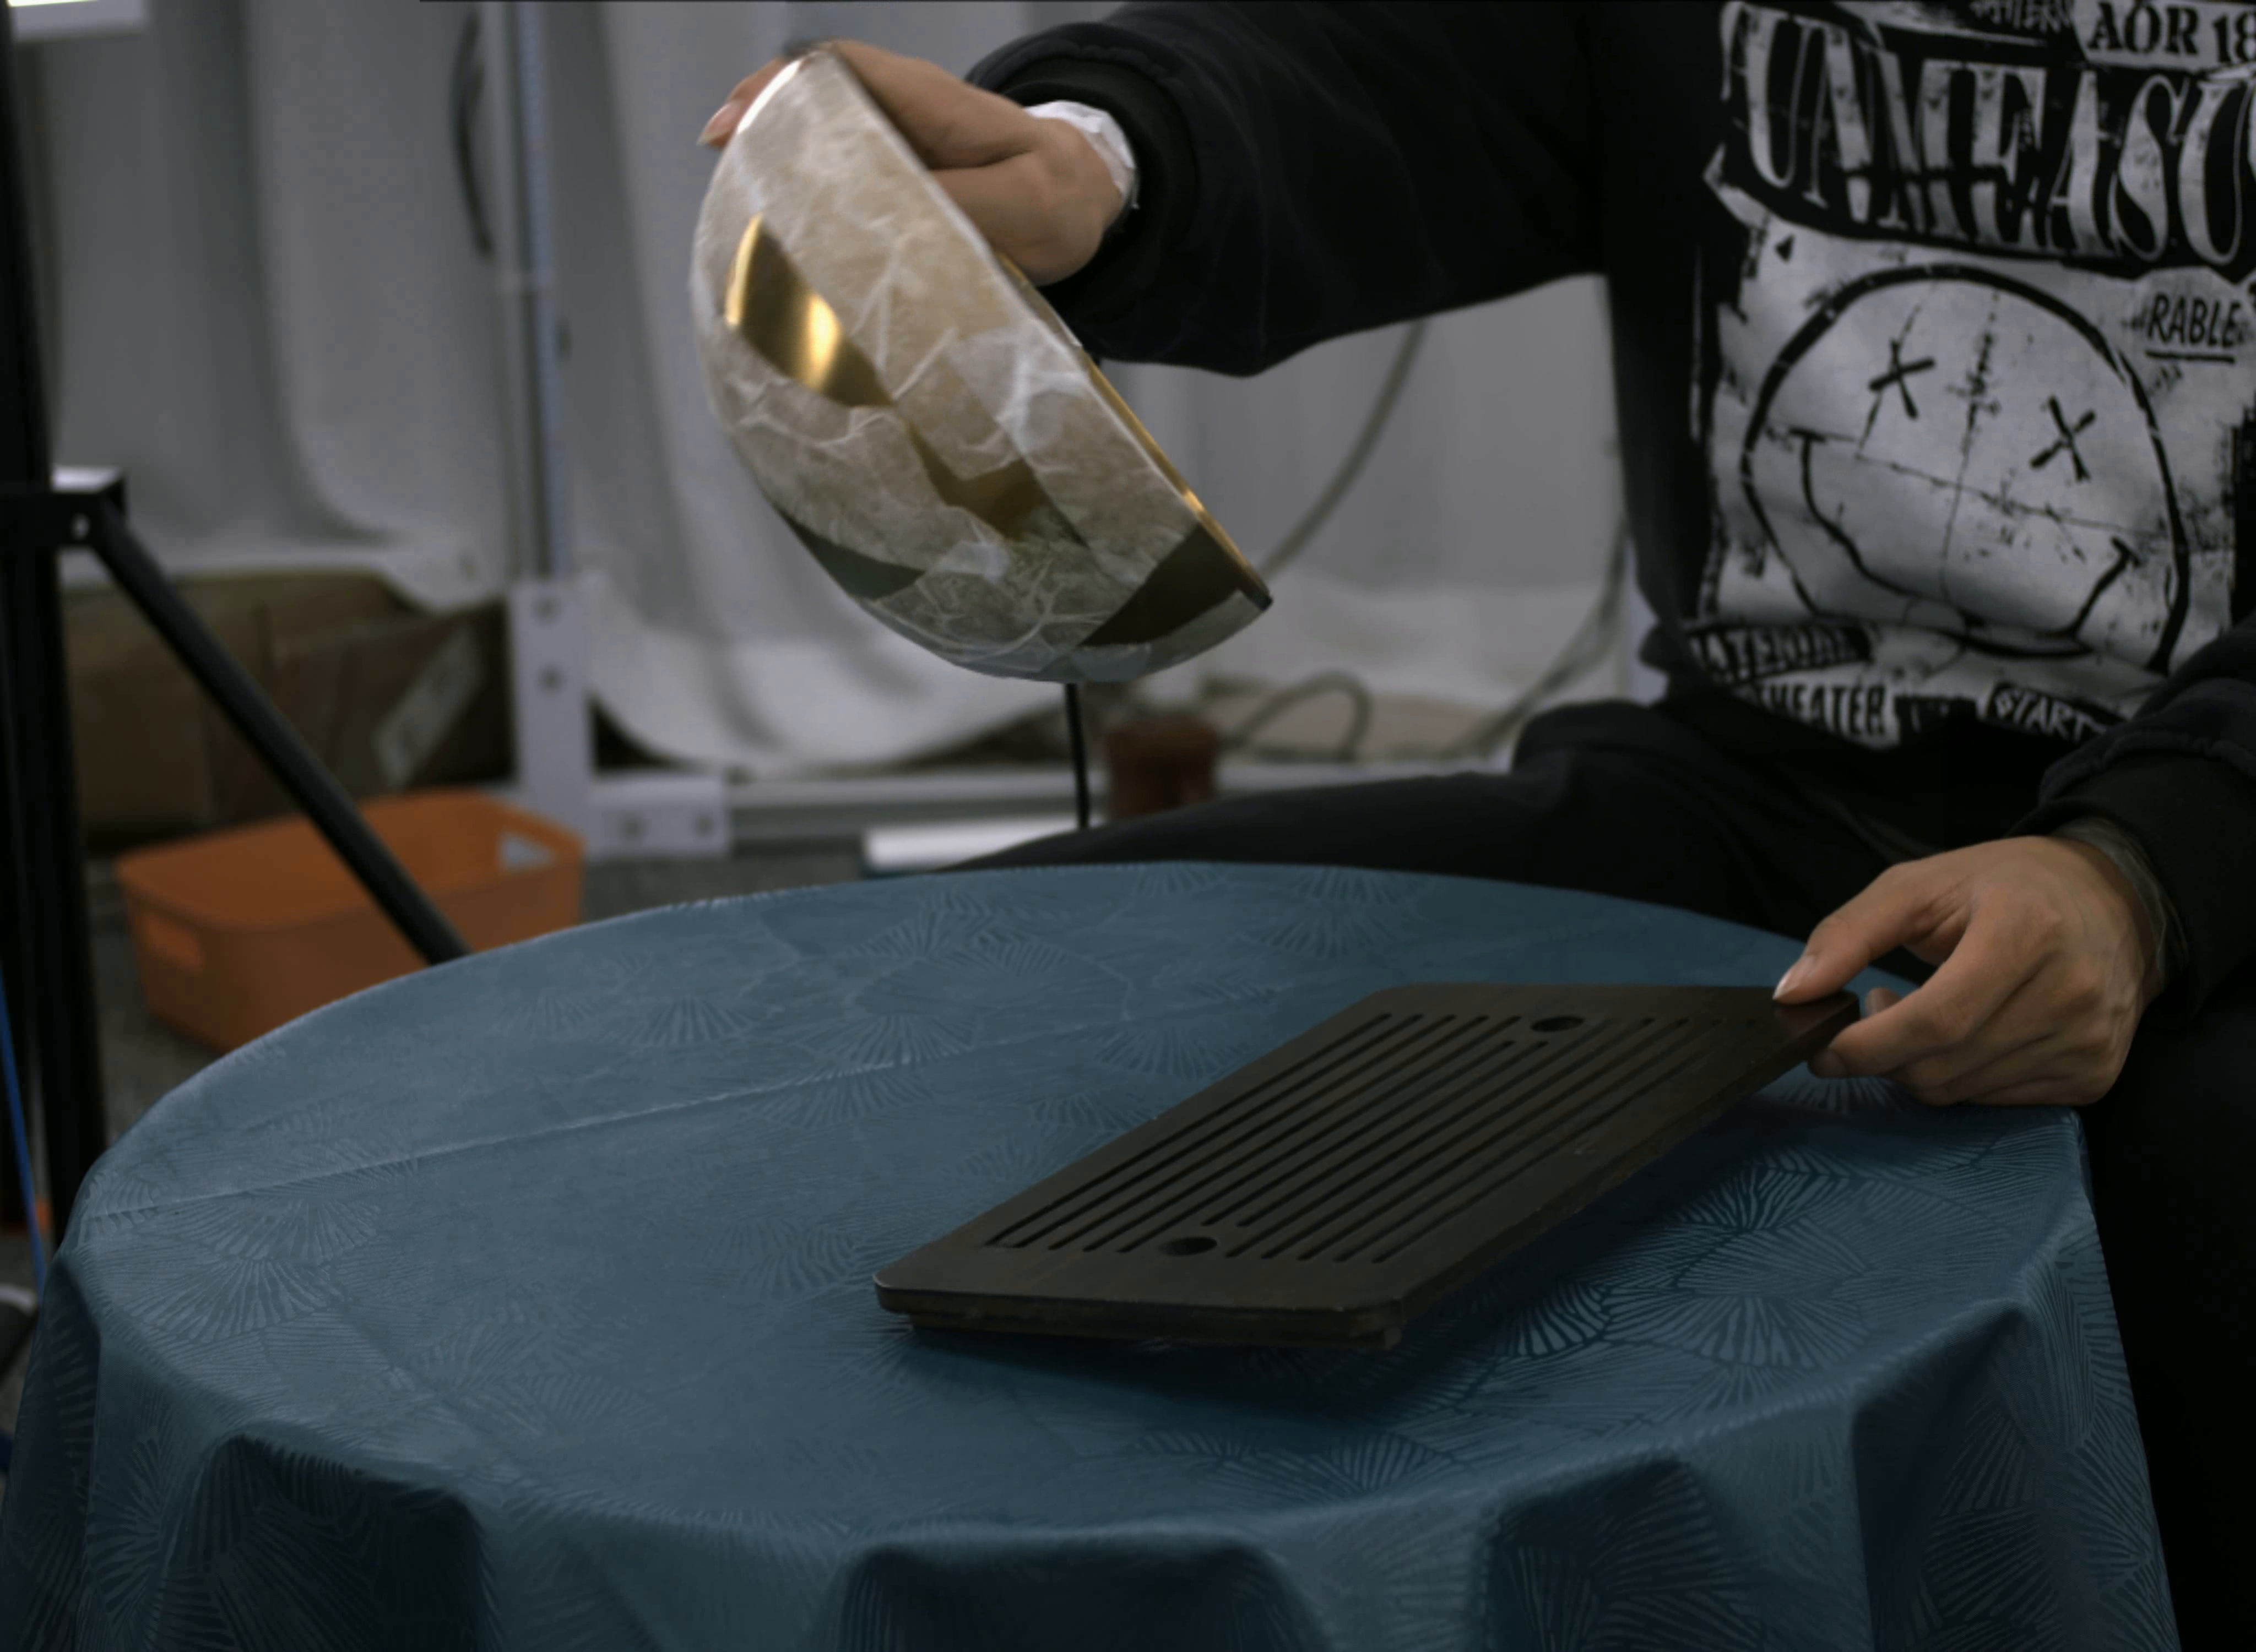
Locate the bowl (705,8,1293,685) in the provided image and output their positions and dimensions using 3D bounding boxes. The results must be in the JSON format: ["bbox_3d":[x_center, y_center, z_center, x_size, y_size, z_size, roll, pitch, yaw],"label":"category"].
[{"bbox_3d":[-0.051,-0.111,1.465,0.094,0.212,0.217,-37,17,3],"label":"bowl"}]

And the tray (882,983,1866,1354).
[{"bbox_3d":[0.078,0.095,1.522,0.173,0.018,0.300,-1,14,34],"label":"tray"}]
